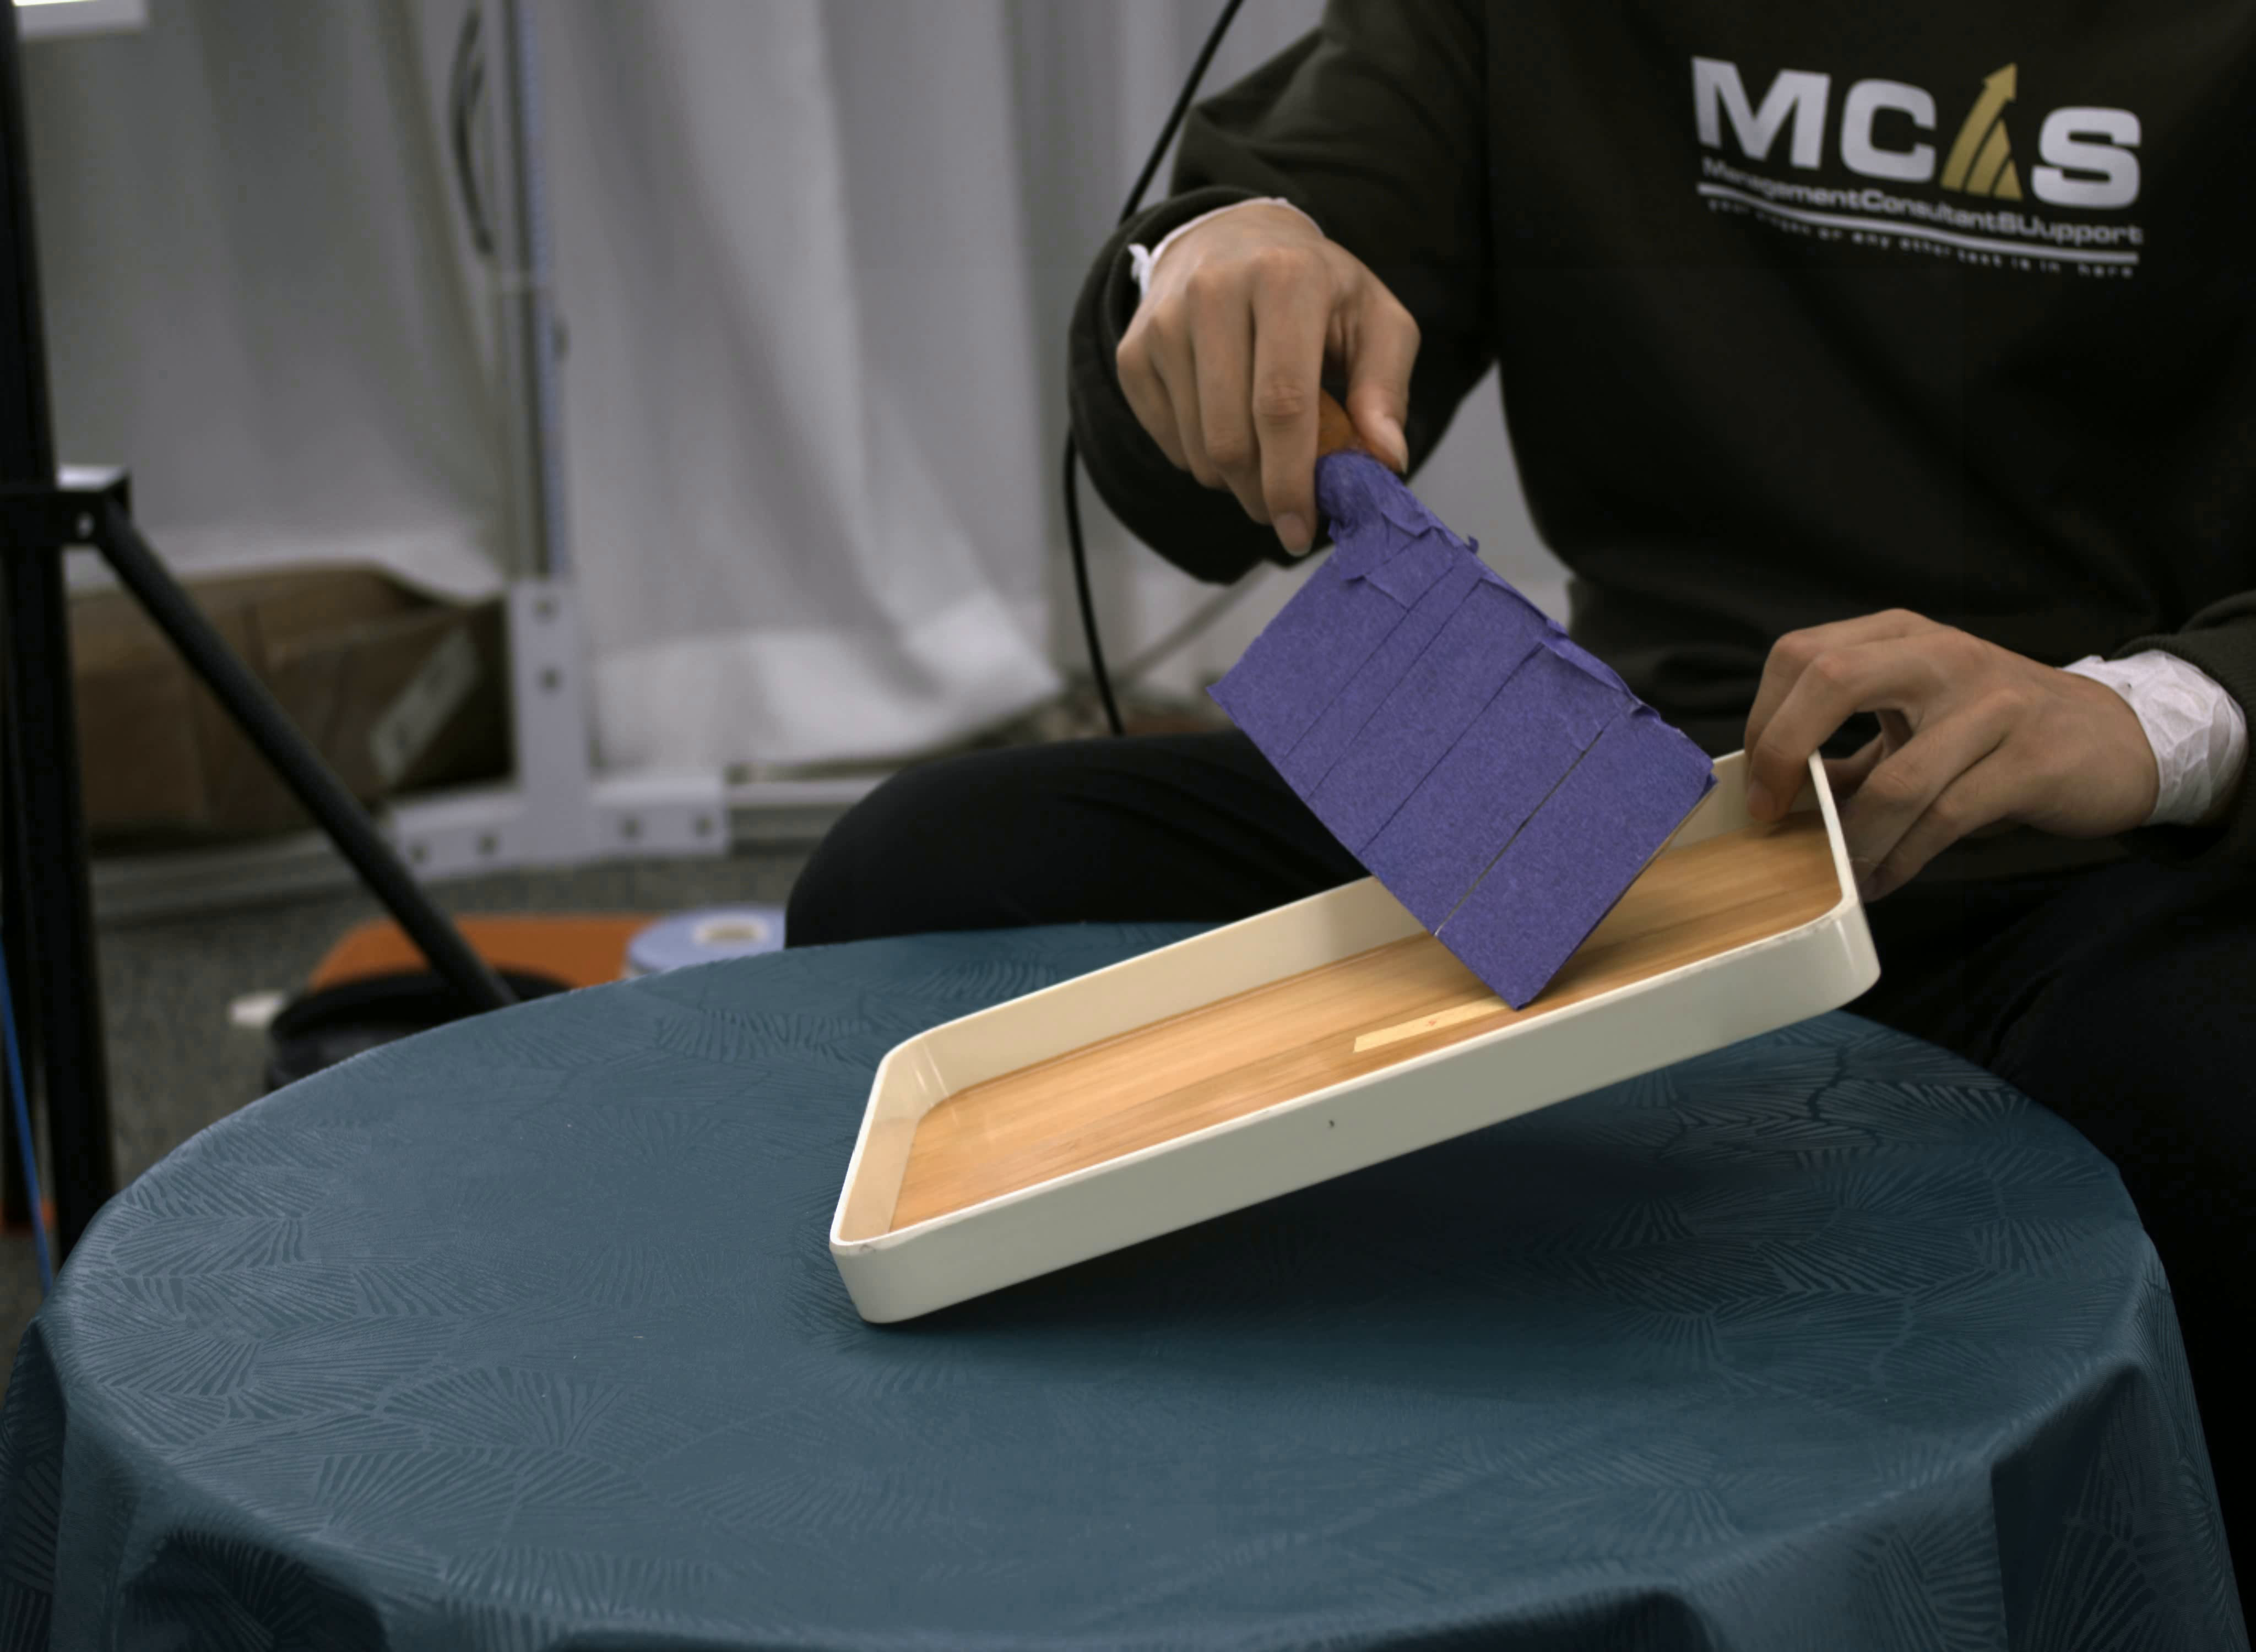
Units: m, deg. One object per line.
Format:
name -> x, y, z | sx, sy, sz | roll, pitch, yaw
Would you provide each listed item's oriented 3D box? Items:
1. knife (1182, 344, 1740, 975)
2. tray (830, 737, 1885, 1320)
knife -> 0.074, -0.055, 1.614 | 0.031, 0.104, 0.322 | 37, 6, -35
tray -> 0.065, 0.056, 1.520 | 0.301, 0.027, 0.191 | -19, 13, 10
